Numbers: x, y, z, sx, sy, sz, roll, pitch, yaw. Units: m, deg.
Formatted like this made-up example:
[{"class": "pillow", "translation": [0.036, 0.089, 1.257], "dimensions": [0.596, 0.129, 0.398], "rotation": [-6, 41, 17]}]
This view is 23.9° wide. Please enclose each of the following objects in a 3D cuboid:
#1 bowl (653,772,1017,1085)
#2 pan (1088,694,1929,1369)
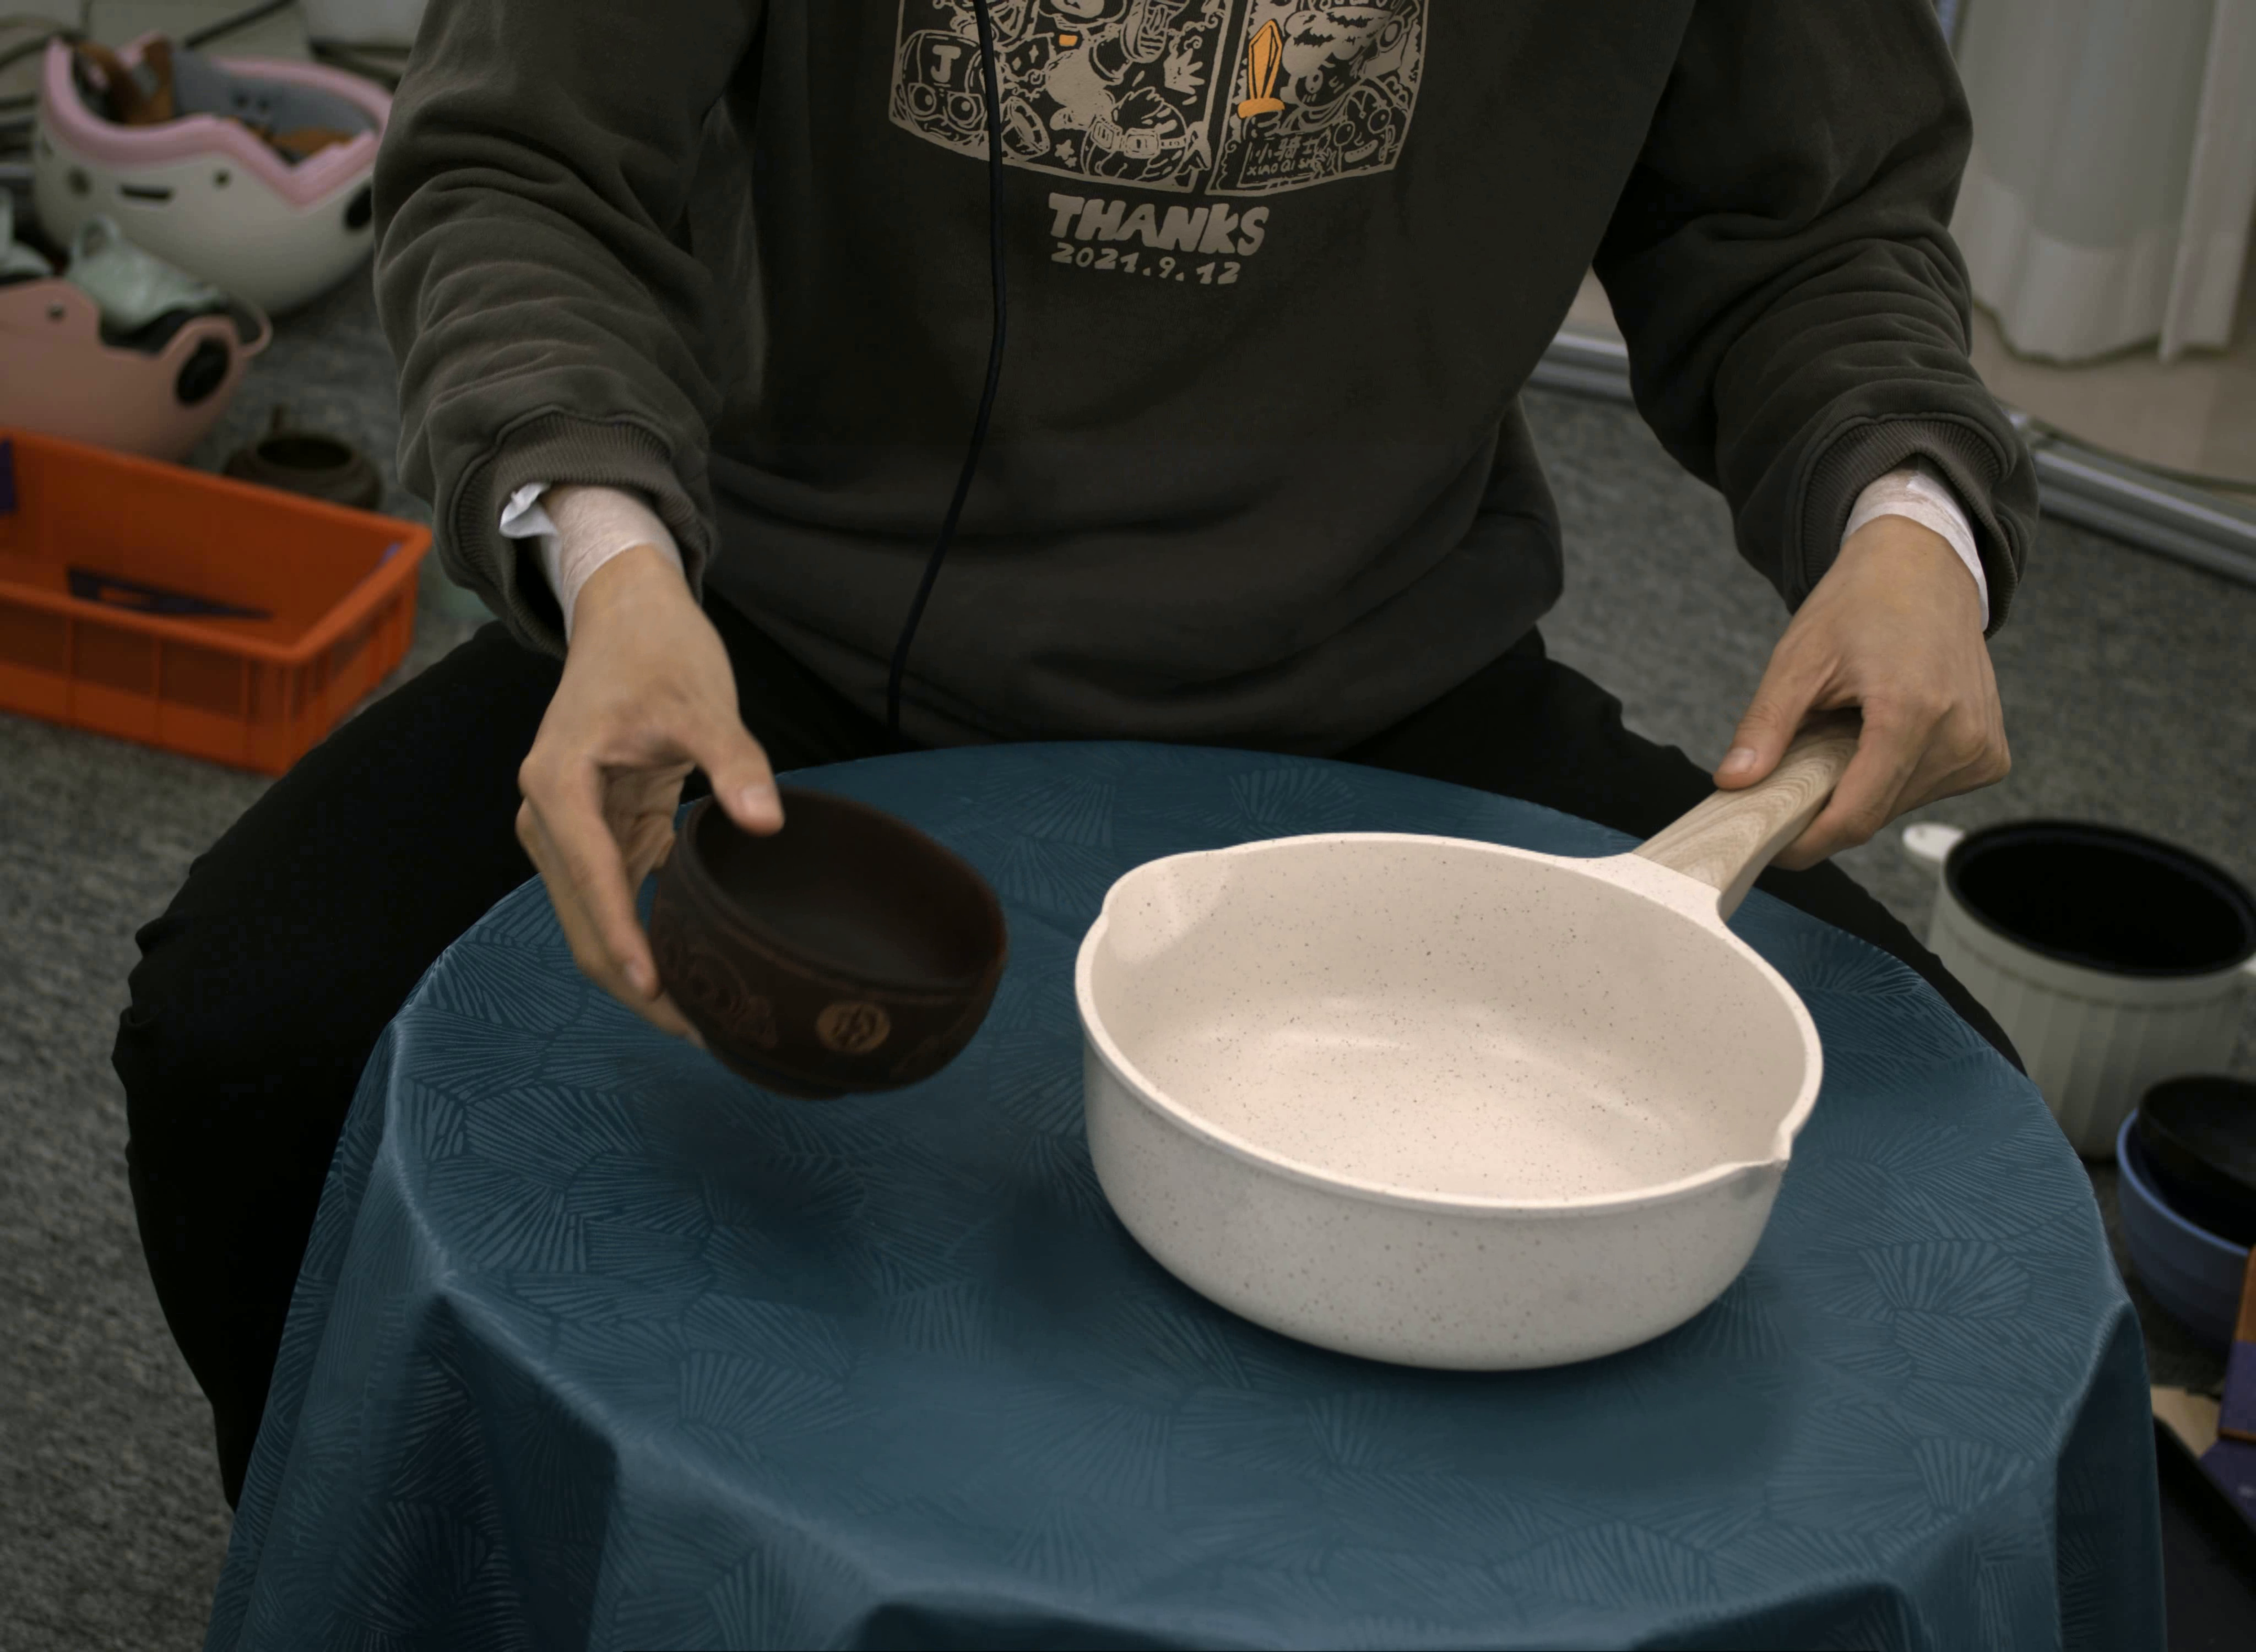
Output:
[{"class": "bowl", "translation": [-0.101, 0.041, 1.744], "dimensions": [0.117, 0.070, 0.119], "rotation": [19, 24, -9]}, {"class": "pan", "translation": [0.163, 0.063, 1.852], "dimensions": [0.265, 0.101, 0.433], "rotation": [21, 30, 31]}]
